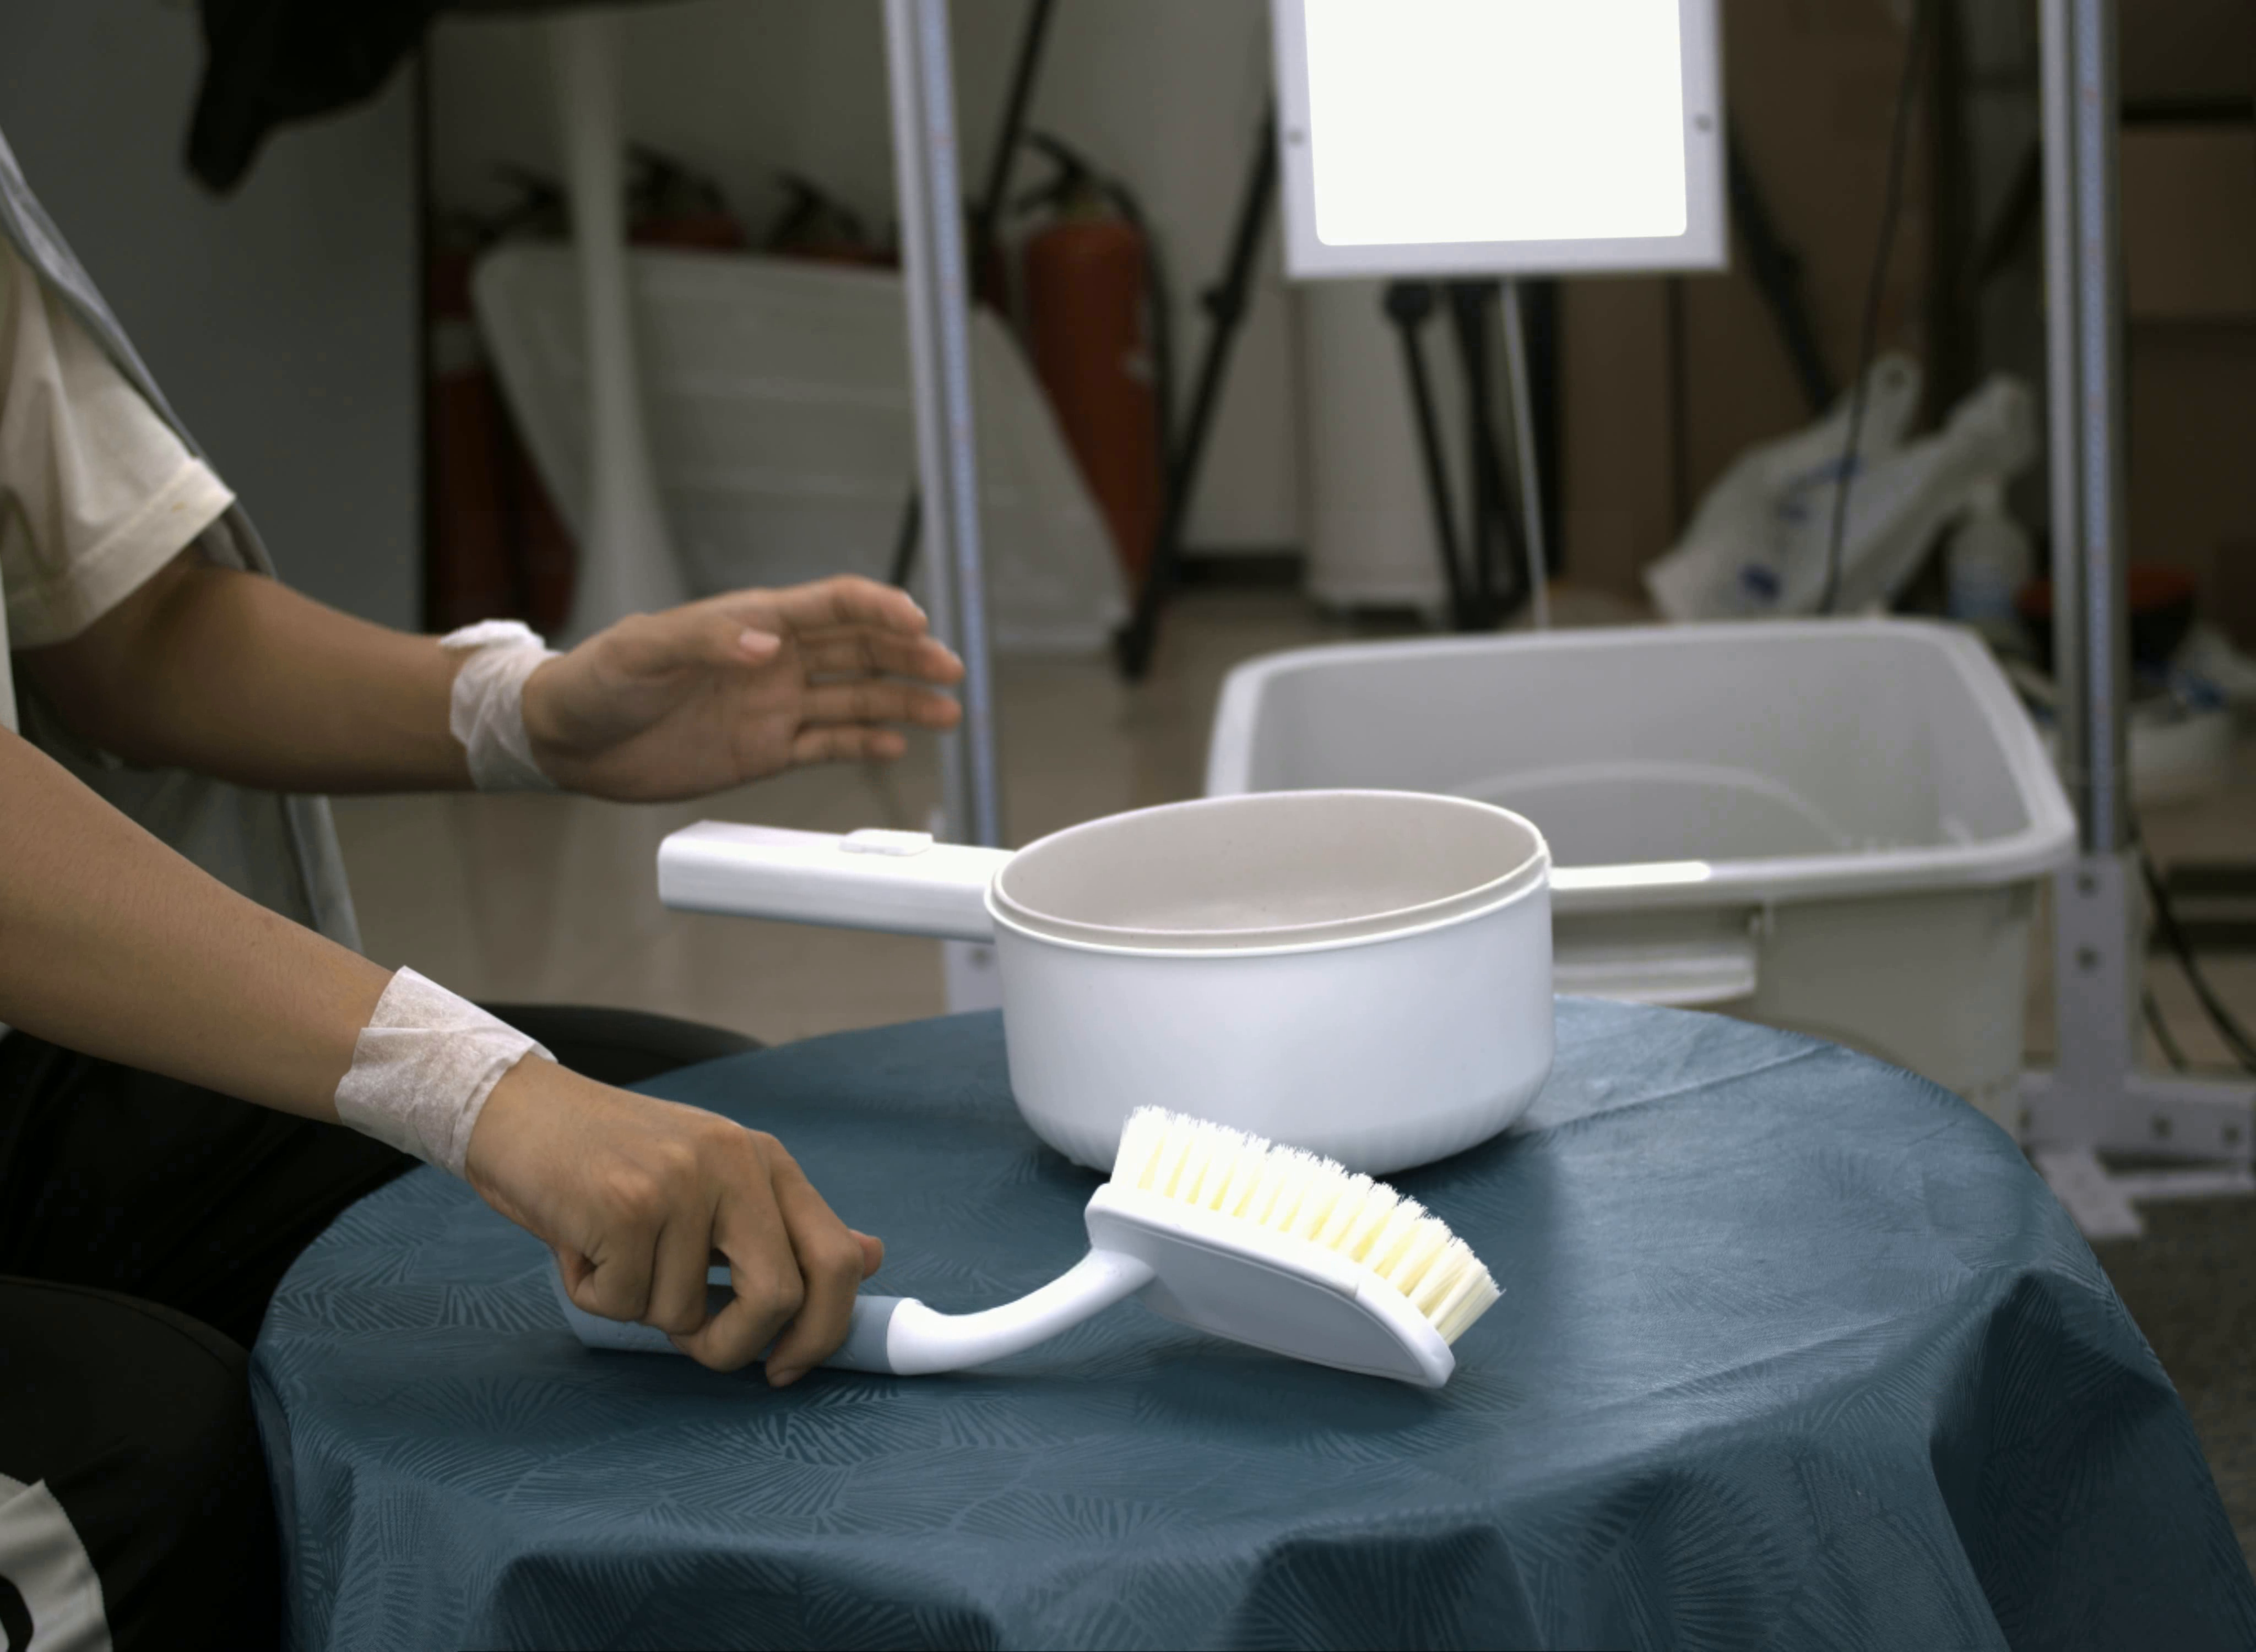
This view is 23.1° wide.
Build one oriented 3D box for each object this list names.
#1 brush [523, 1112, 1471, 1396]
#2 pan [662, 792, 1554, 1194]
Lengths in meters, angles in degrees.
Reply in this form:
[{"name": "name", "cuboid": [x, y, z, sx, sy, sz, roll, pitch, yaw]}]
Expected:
[{"name": "brush", "cuboid": [-0.043, 0.128, 1.740, 0.331, 0.083, 0.083, 2, 15, 28]}, {"name": "pan", "cuboid": [-0.013, 0.056, 1.980, 0.362, 0.102, 0.196, 3, 16, 33]}]
